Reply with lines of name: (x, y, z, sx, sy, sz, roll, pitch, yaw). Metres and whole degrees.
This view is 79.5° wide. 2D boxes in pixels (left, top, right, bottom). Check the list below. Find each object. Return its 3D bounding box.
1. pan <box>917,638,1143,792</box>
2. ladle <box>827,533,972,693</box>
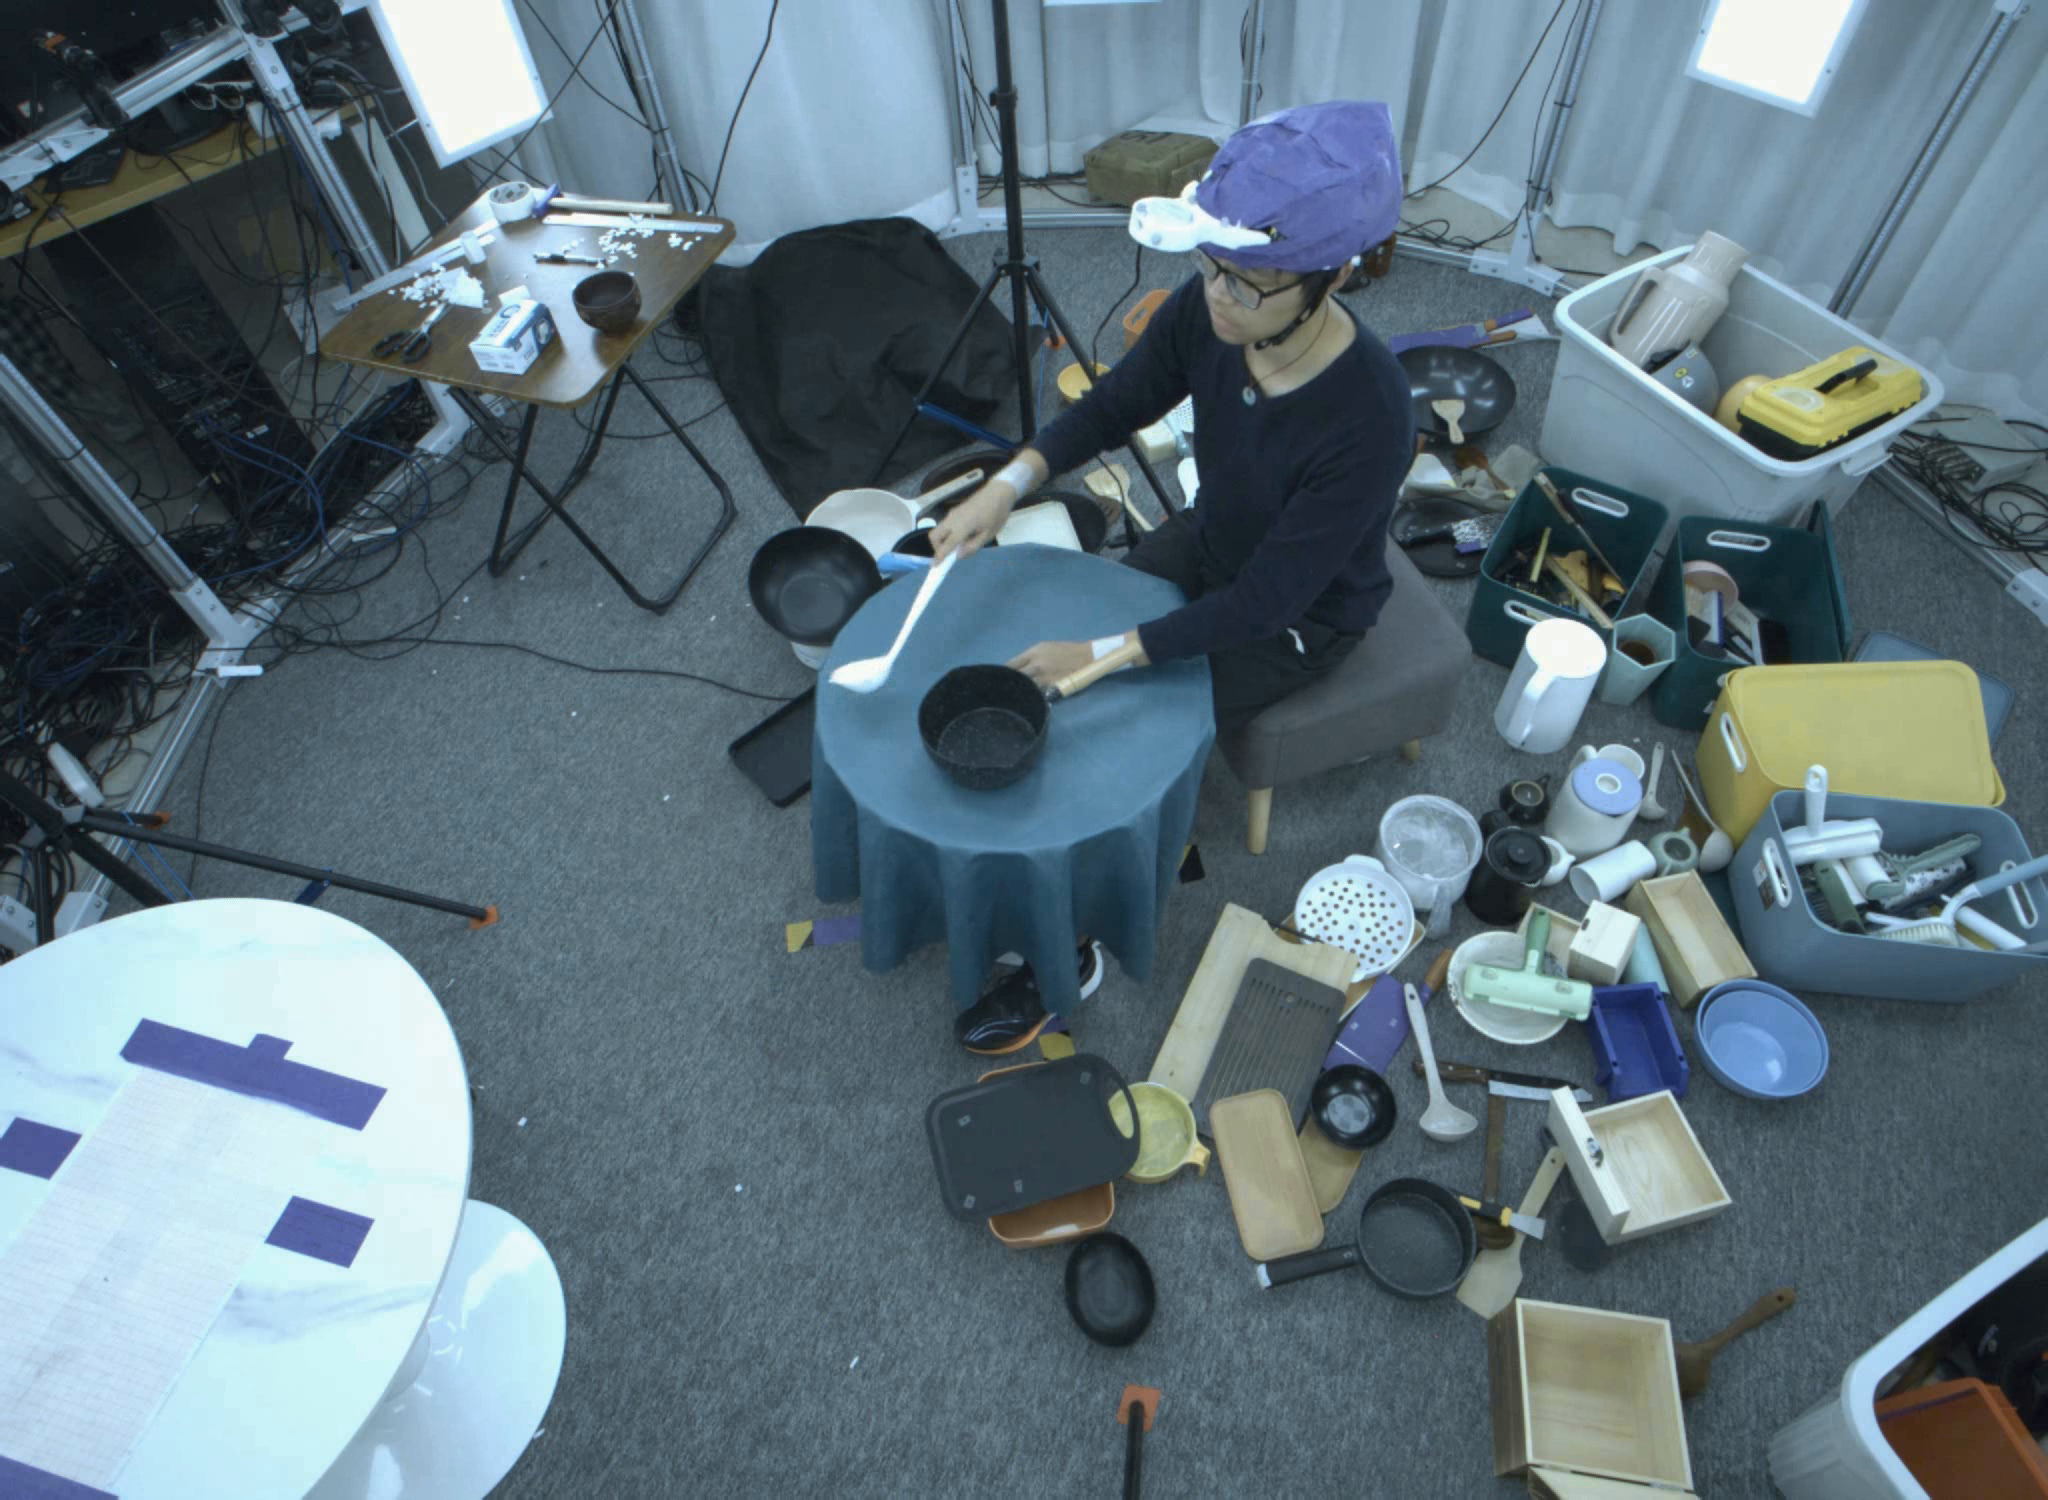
pan: (0.015, -0.063, 1.765, 0.345, 0.109, 0.203, -24, 56, -13)
ladle: (-0.184, -0.206, 1.811, 0.293, 0.071, 0.088, -57, 28, -5)
